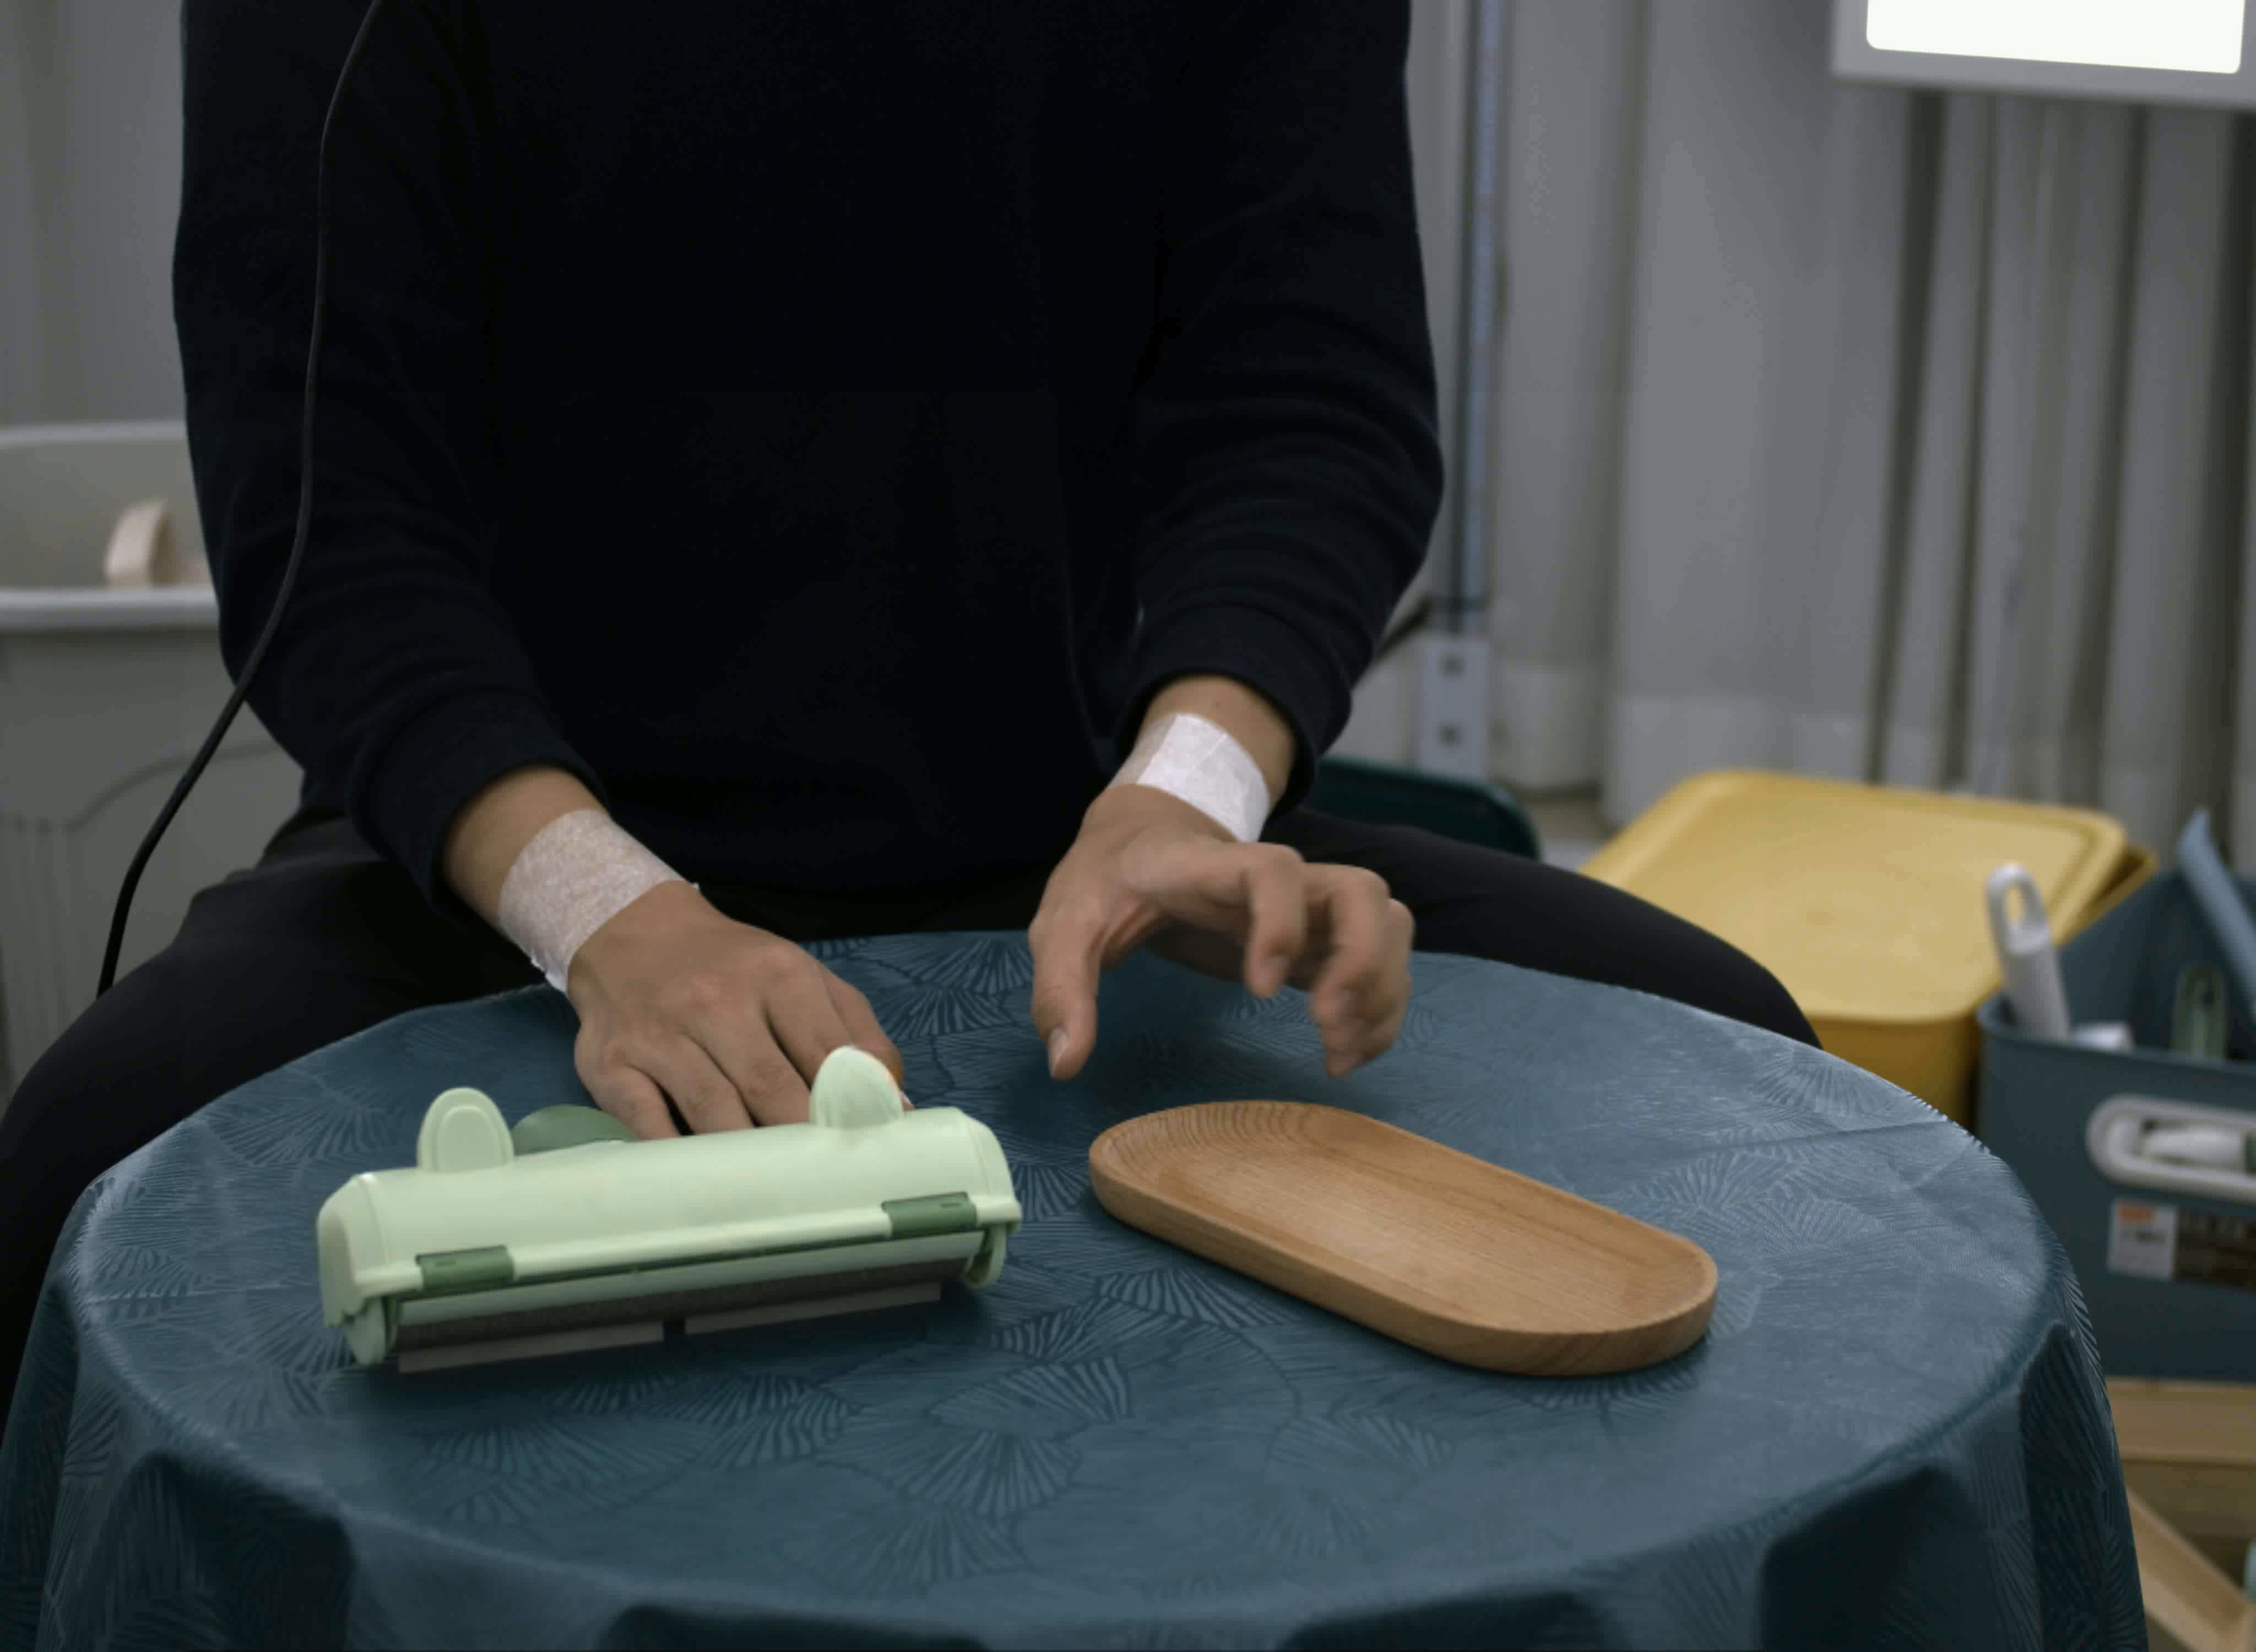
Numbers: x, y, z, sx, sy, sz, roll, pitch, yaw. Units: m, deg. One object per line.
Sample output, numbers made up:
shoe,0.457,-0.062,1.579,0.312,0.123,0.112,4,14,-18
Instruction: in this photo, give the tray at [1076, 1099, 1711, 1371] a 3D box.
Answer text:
tray,0.076,0.120,1.567,0.102,0.020,0.228,-12,18,-38

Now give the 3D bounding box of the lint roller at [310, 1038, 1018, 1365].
lint roller,-0.151,0.089,1.539,0.199,0.083,0.181,-5,22,-21
